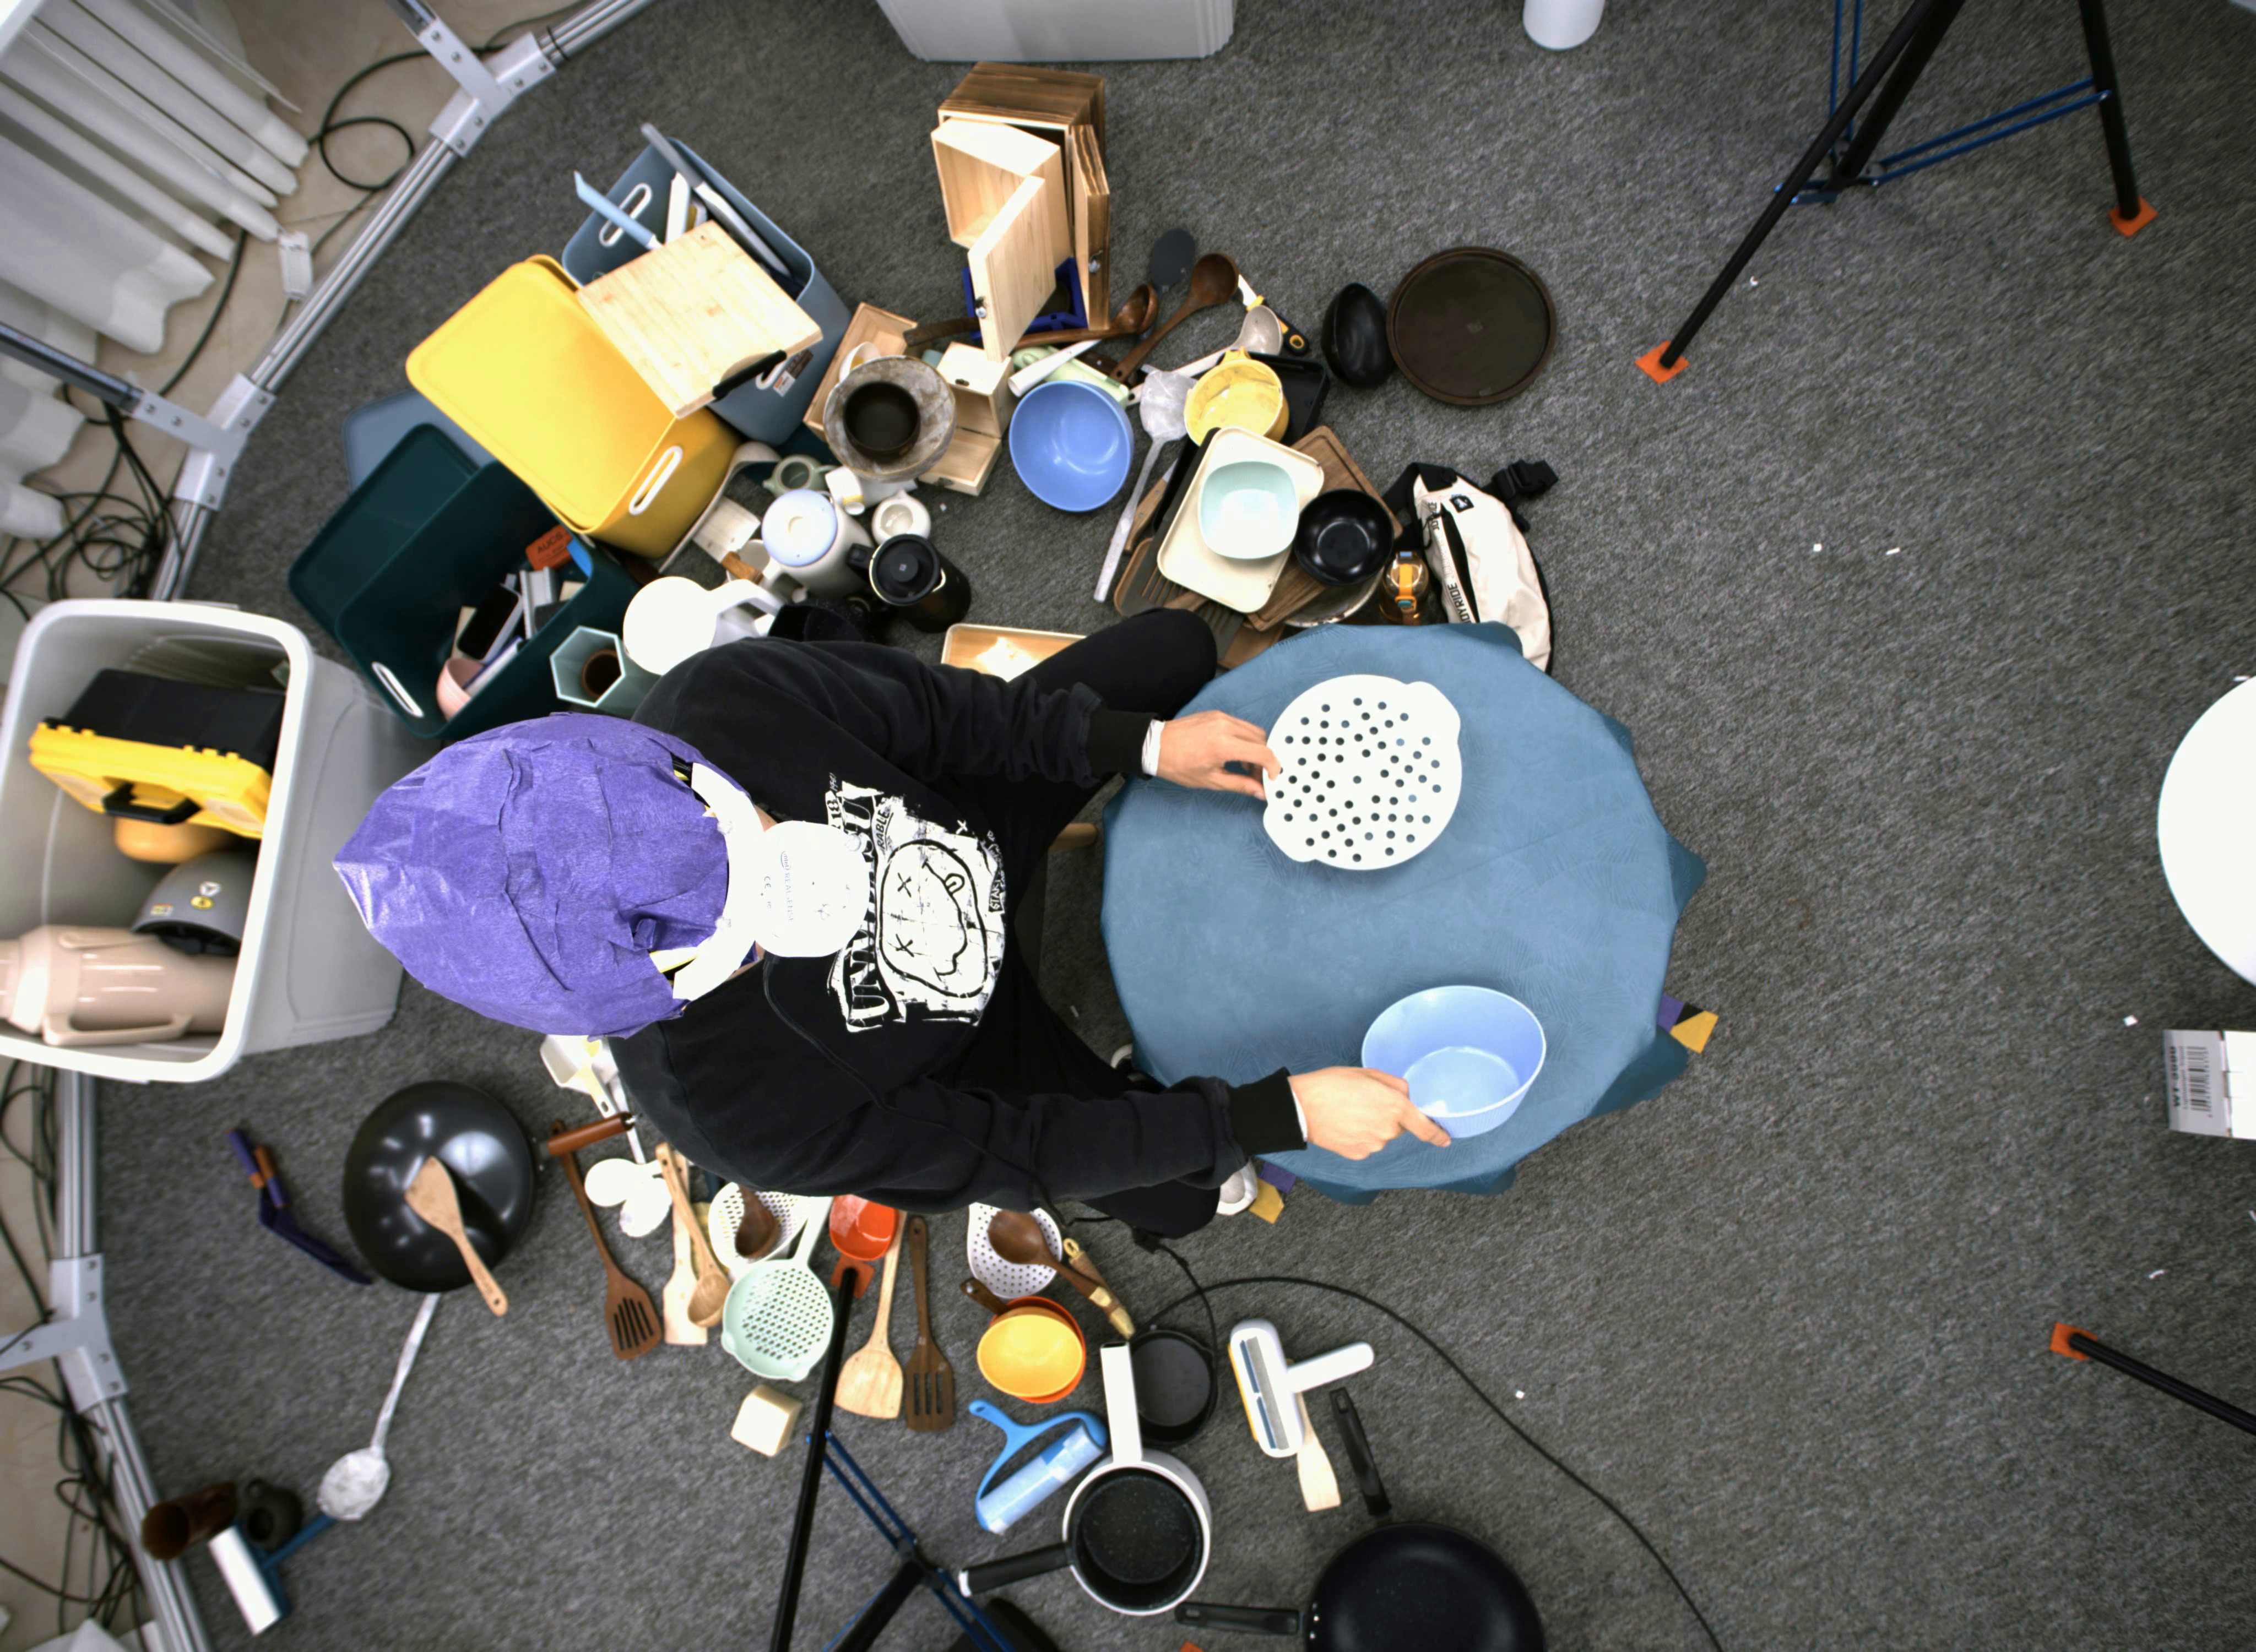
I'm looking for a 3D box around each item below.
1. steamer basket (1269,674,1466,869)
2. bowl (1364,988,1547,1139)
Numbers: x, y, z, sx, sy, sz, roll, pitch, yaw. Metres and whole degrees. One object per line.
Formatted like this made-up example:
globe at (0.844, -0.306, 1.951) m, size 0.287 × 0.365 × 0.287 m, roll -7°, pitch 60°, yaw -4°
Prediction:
steamer basket at (0.247, -0.055, 1.437) m, size 0.230 × 0.069 × 0.201 m, roll -41°, pitch 83°, yaw -2°
bowl at (0.324, 0.240, 1.356) m, size 0.177 × 0.171 × 0.072 m, roll -13°, pitch 124°, yaw 8°
